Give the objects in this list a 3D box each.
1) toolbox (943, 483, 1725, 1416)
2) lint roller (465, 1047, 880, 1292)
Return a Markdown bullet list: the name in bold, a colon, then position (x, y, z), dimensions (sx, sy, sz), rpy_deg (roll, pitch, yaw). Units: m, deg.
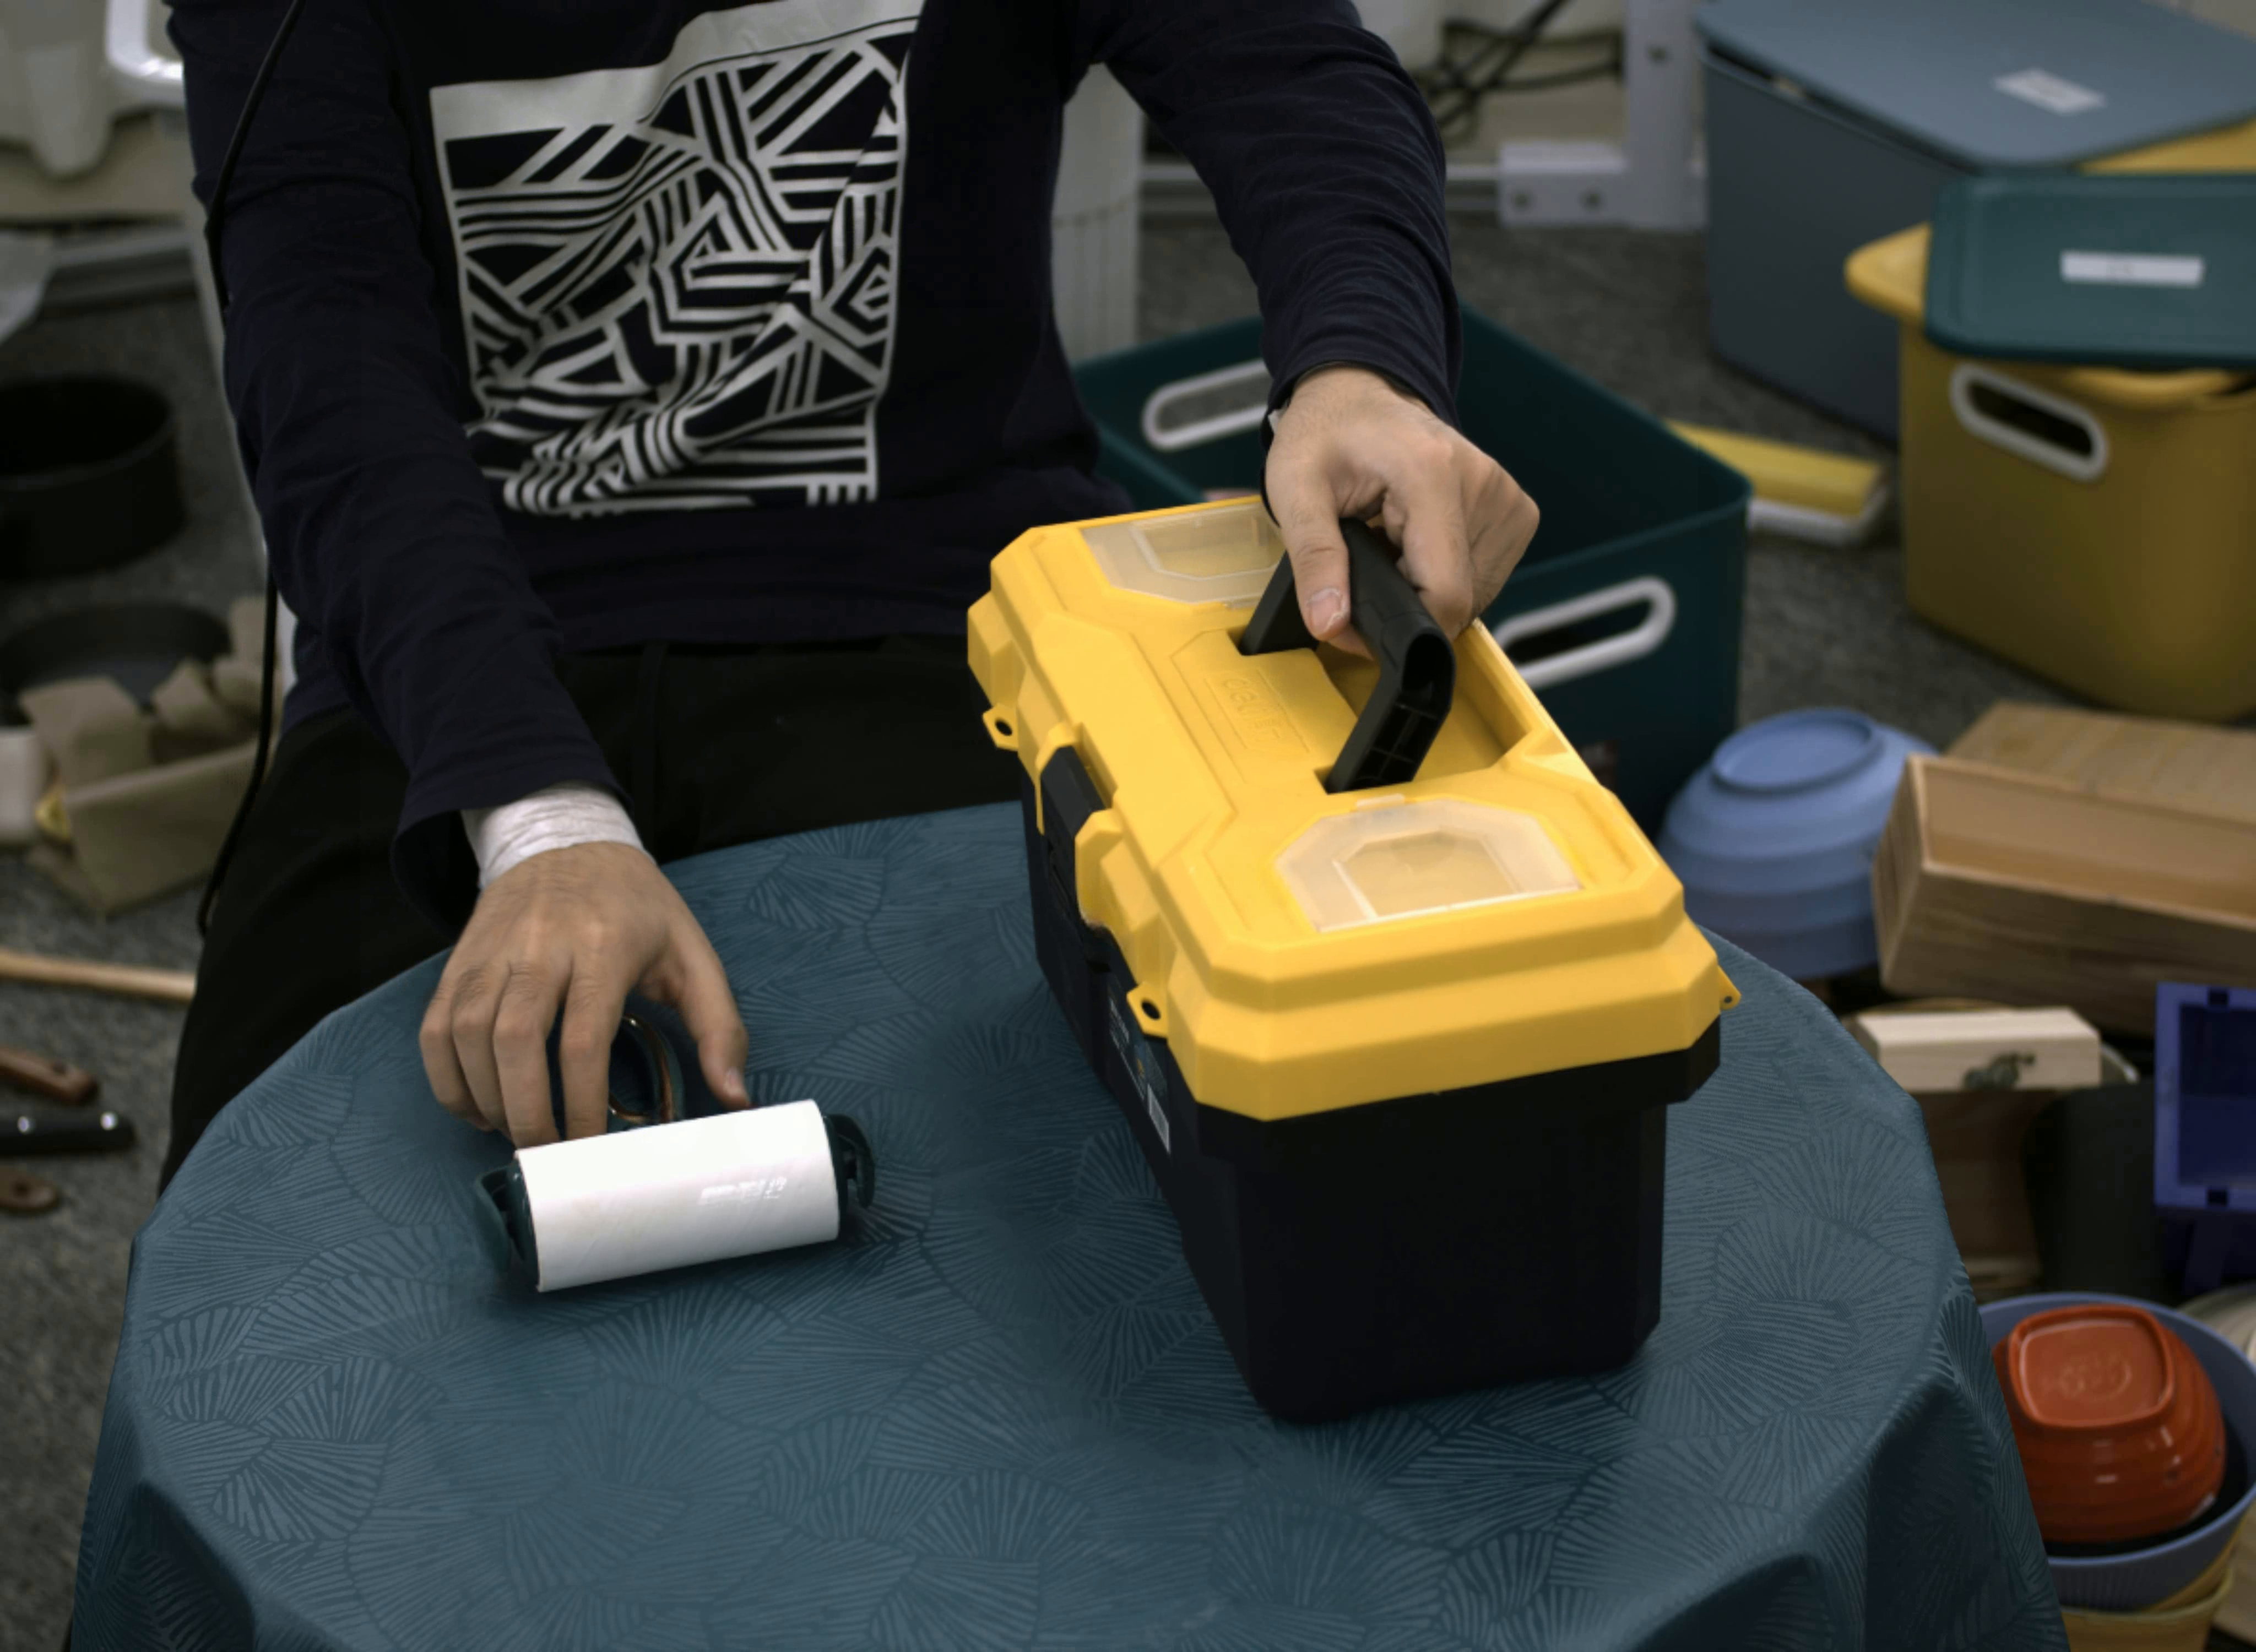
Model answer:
- **toolbox**: position (0.061, 0.033, 1.839), dimensions (0.181, 0.171, 0.355), rpy_deg (-8, 27, -12)
- **lint roller**: position (-0.165, 0.095, 1.886), dimensions (0.134, 0.048, 0.181), rpy_deg (-10, 24, -12)
